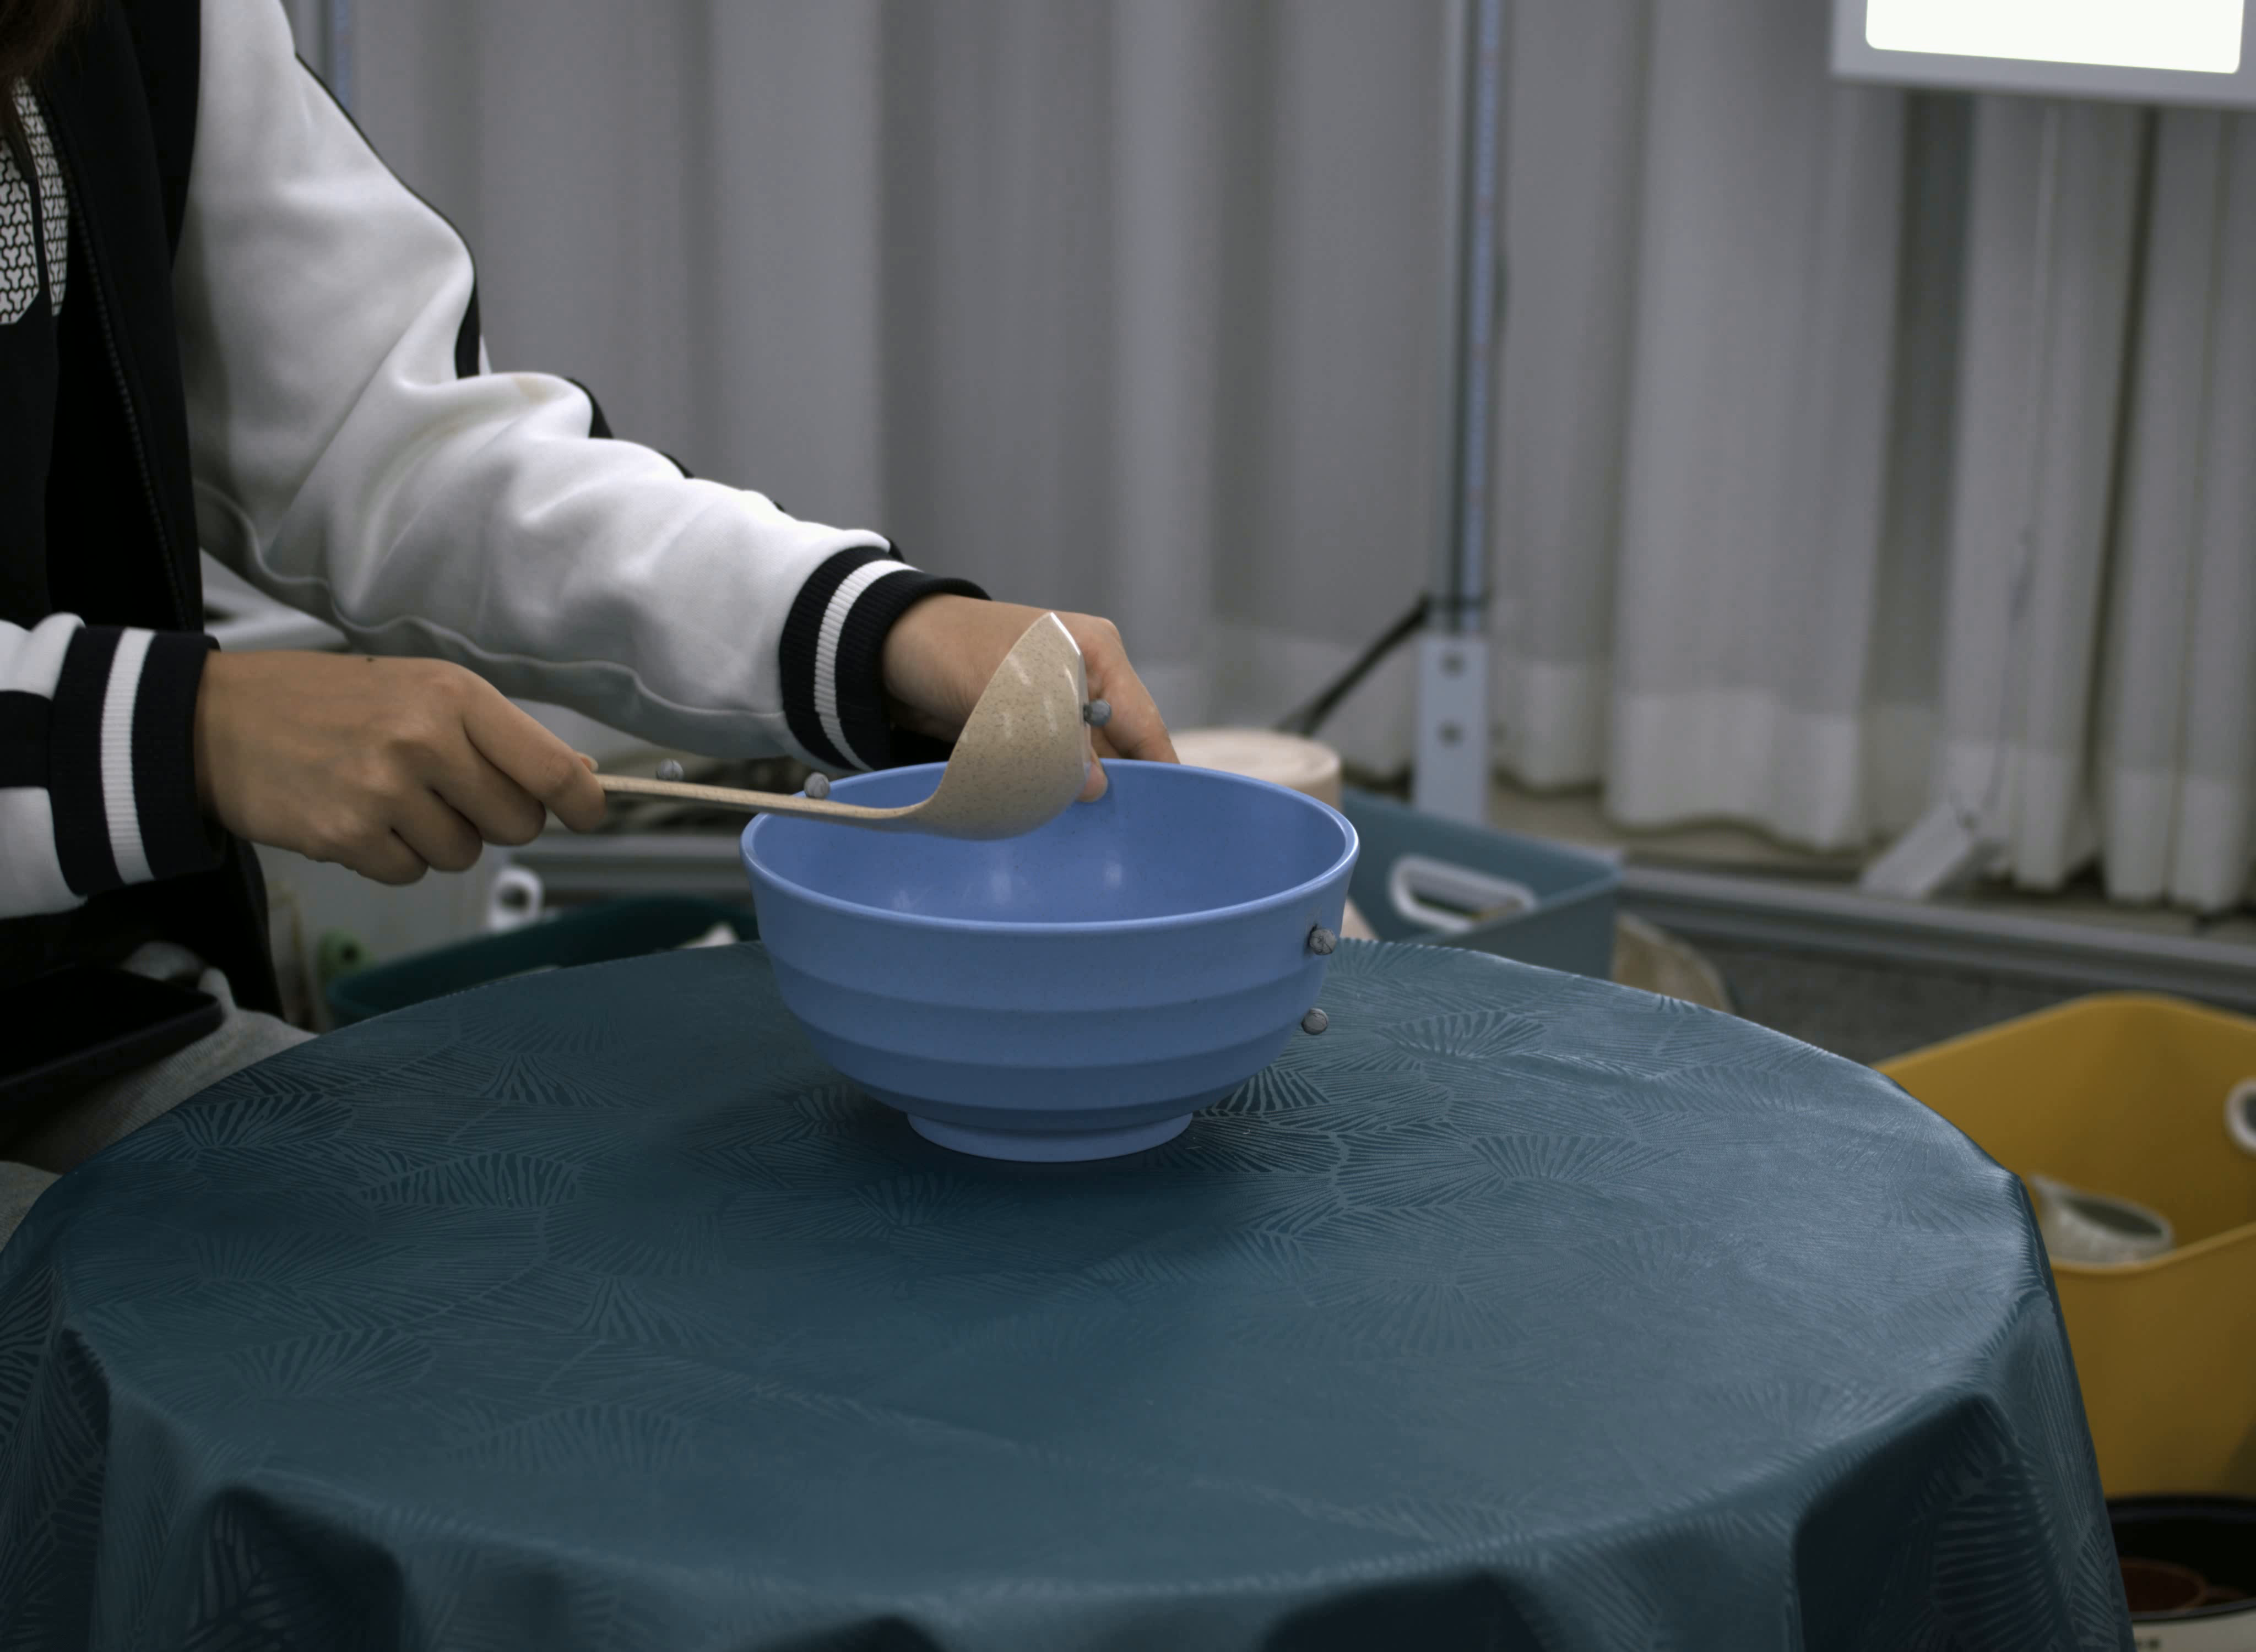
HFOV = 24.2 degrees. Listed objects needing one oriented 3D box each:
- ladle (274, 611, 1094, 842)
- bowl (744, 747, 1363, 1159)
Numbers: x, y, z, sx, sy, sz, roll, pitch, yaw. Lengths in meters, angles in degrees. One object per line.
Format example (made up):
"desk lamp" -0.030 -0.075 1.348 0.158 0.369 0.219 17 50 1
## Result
"ladle" -0.137 -0.036 1.636 0.253 0.072 0.072 3 -14 3
"bowl" -0.025 0.046 1.676 0.196 0.096 0.195 3 16 0
